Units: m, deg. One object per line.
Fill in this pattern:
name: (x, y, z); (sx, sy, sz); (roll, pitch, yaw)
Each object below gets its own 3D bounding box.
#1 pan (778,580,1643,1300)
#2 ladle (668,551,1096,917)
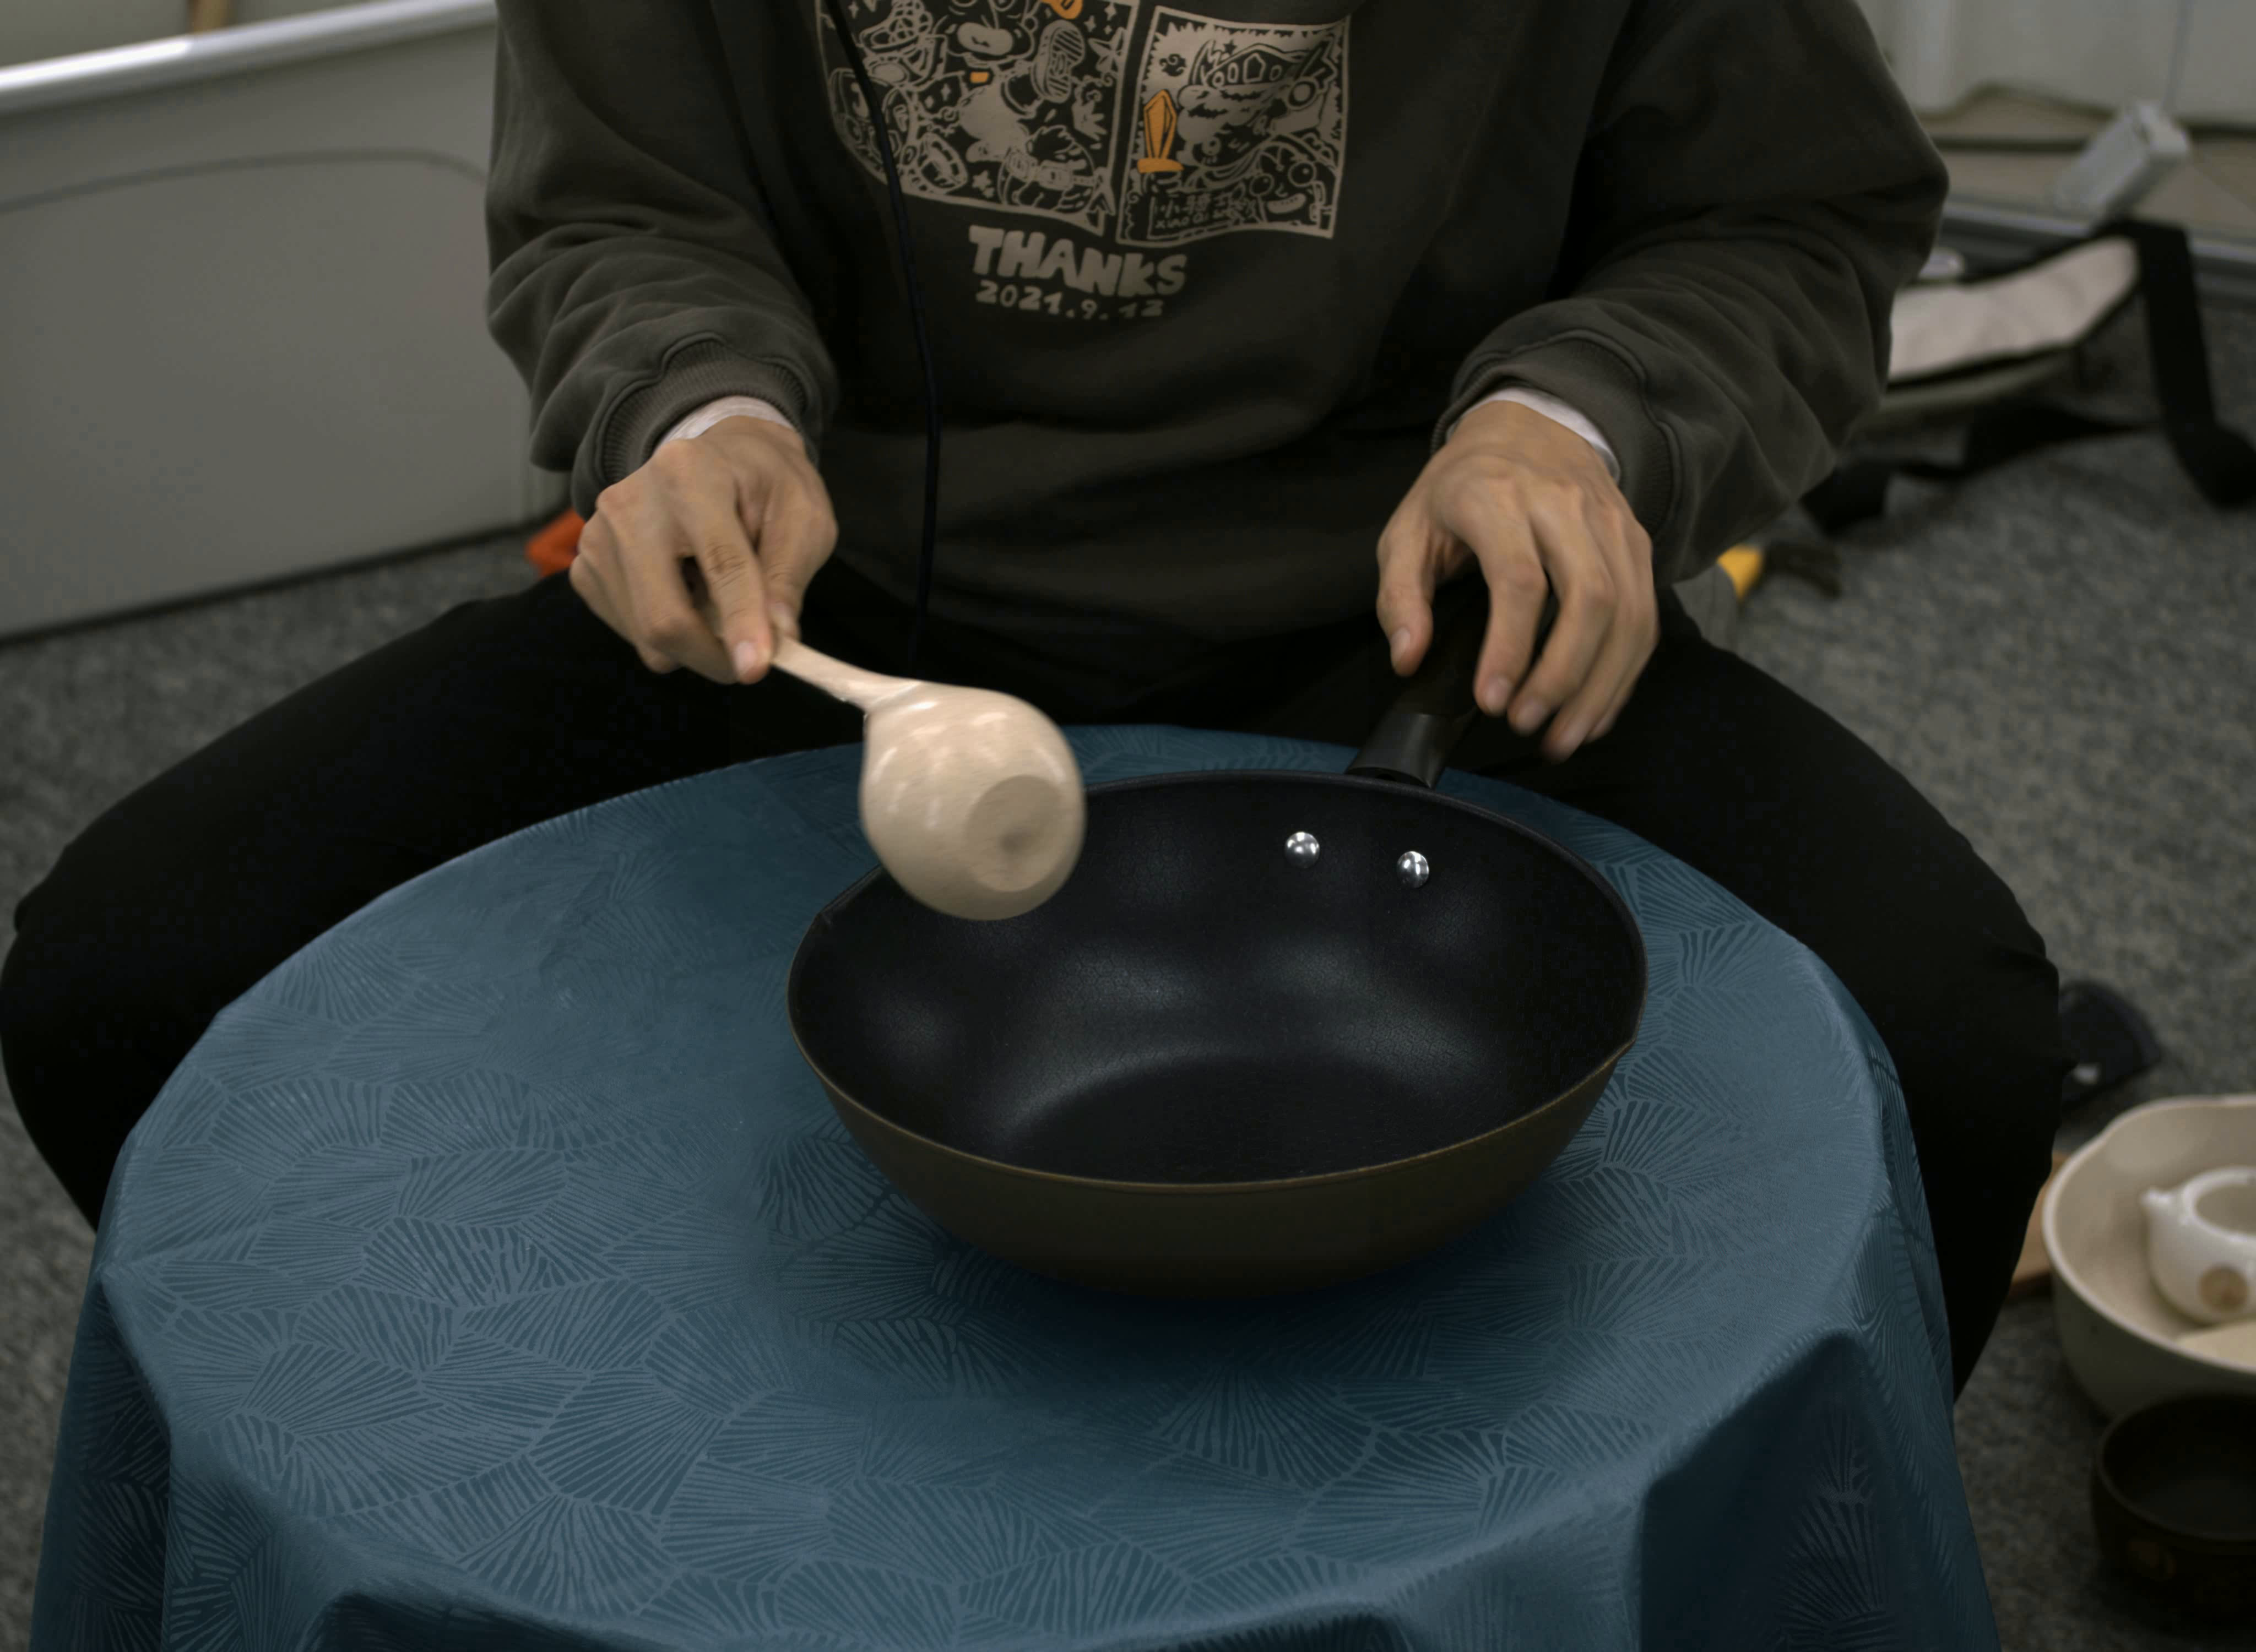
pan: (0.064, 0.040, 1.924); (0.286, 0.086, 0.471); (9, 29, 22)
ladle: (-0.089, -0.033, 1.890); (0.072, 0.072, 0.255); (-33, 26, -15)
